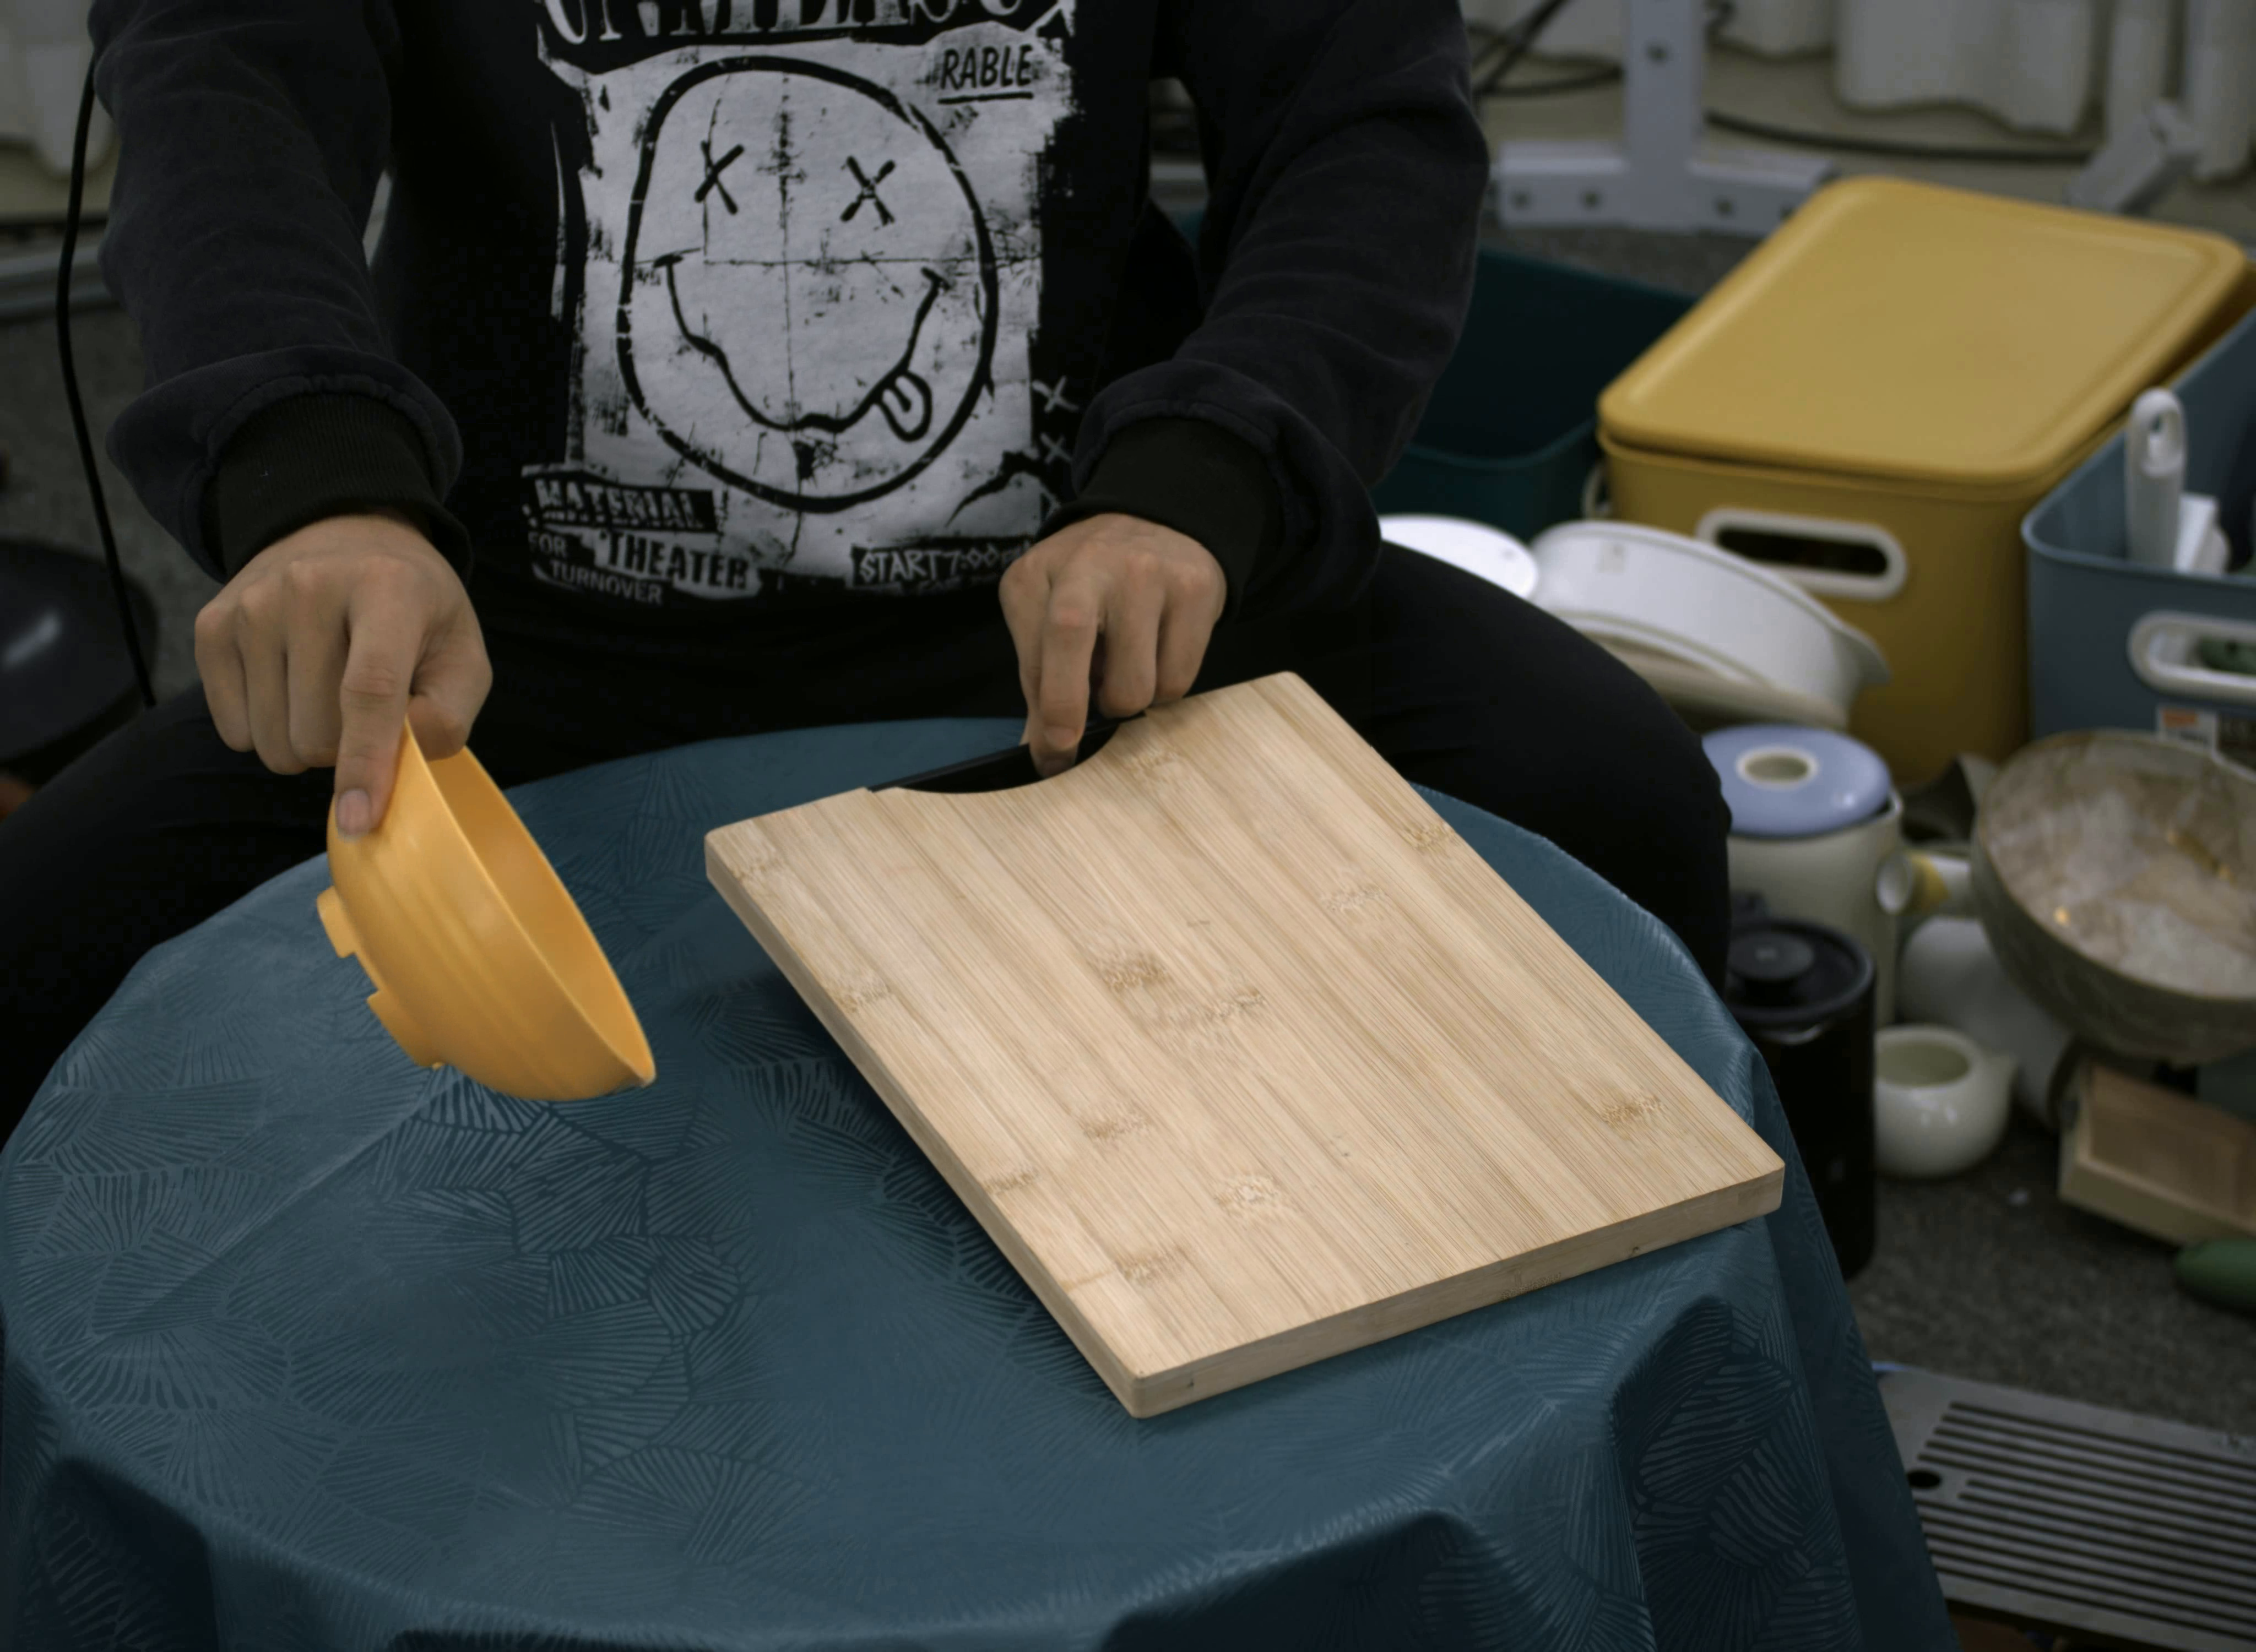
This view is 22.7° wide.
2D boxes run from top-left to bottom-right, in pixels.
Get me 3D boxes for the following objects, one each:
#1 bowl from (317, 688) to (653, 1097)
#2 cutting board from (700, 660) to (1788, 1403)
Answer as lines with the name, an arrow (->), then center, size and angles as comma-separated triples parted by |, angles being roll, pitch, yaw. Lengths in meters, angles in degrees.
bowl -> -0.212, 0.033, 1.760 | 0.060, 0.144, 0.146 | -33, 31, -1
cutting board -> 0.031, 0.061, 1.914 | 0.252, 0.023, 0.351 | -16, 36, -23
